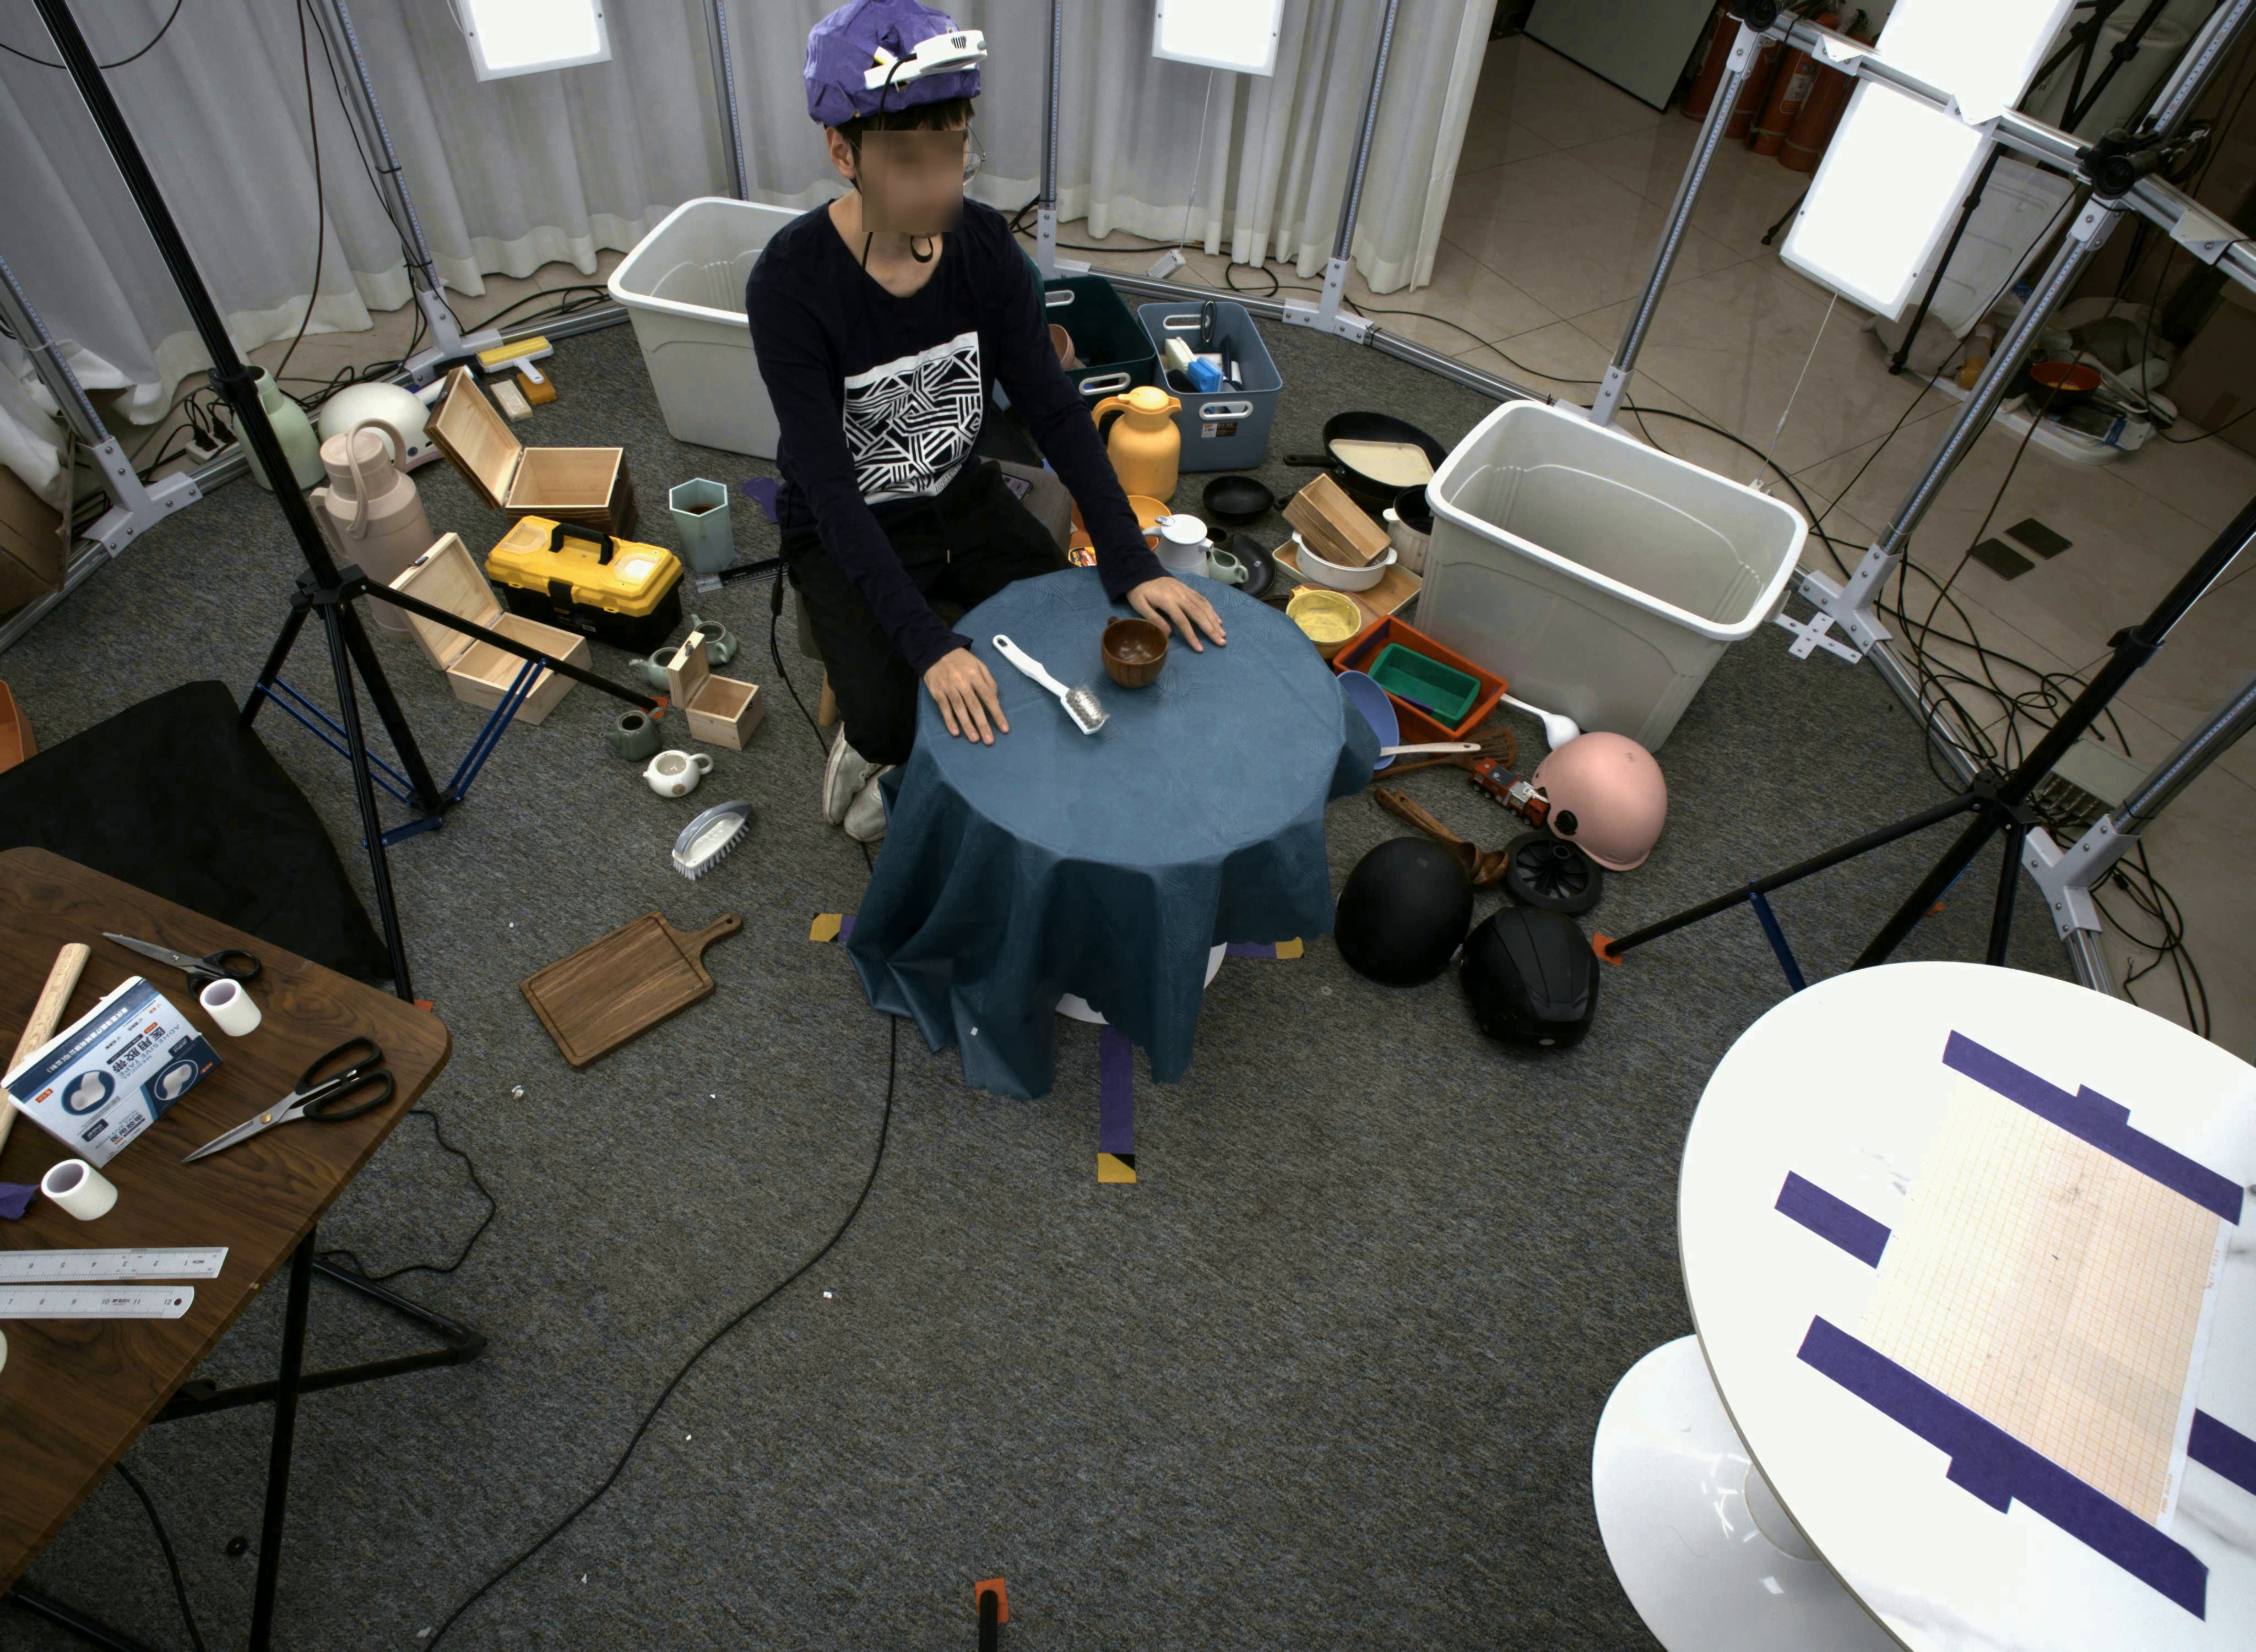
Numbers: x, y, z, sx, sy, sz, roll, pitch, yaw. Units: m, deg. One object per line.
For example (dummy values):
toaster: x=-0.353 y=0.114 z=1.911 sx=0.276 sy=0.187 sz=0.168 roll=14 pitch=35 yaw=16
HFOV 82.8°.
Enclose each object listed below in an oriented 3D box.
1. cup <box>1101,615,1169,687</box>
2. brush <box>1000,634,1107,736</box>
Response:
cup: x=0.004 y=-0.253 z=1.842 sx=0.096 sy=0.066 sz=0.122 roll=-23 pitch=57 yaw=-19
brush: x=-0.111 y=-0.214 z=1.816 sx=0.034 sy=0.049 sz=0.248 roll=-30 pitch=57 yaw=-20
